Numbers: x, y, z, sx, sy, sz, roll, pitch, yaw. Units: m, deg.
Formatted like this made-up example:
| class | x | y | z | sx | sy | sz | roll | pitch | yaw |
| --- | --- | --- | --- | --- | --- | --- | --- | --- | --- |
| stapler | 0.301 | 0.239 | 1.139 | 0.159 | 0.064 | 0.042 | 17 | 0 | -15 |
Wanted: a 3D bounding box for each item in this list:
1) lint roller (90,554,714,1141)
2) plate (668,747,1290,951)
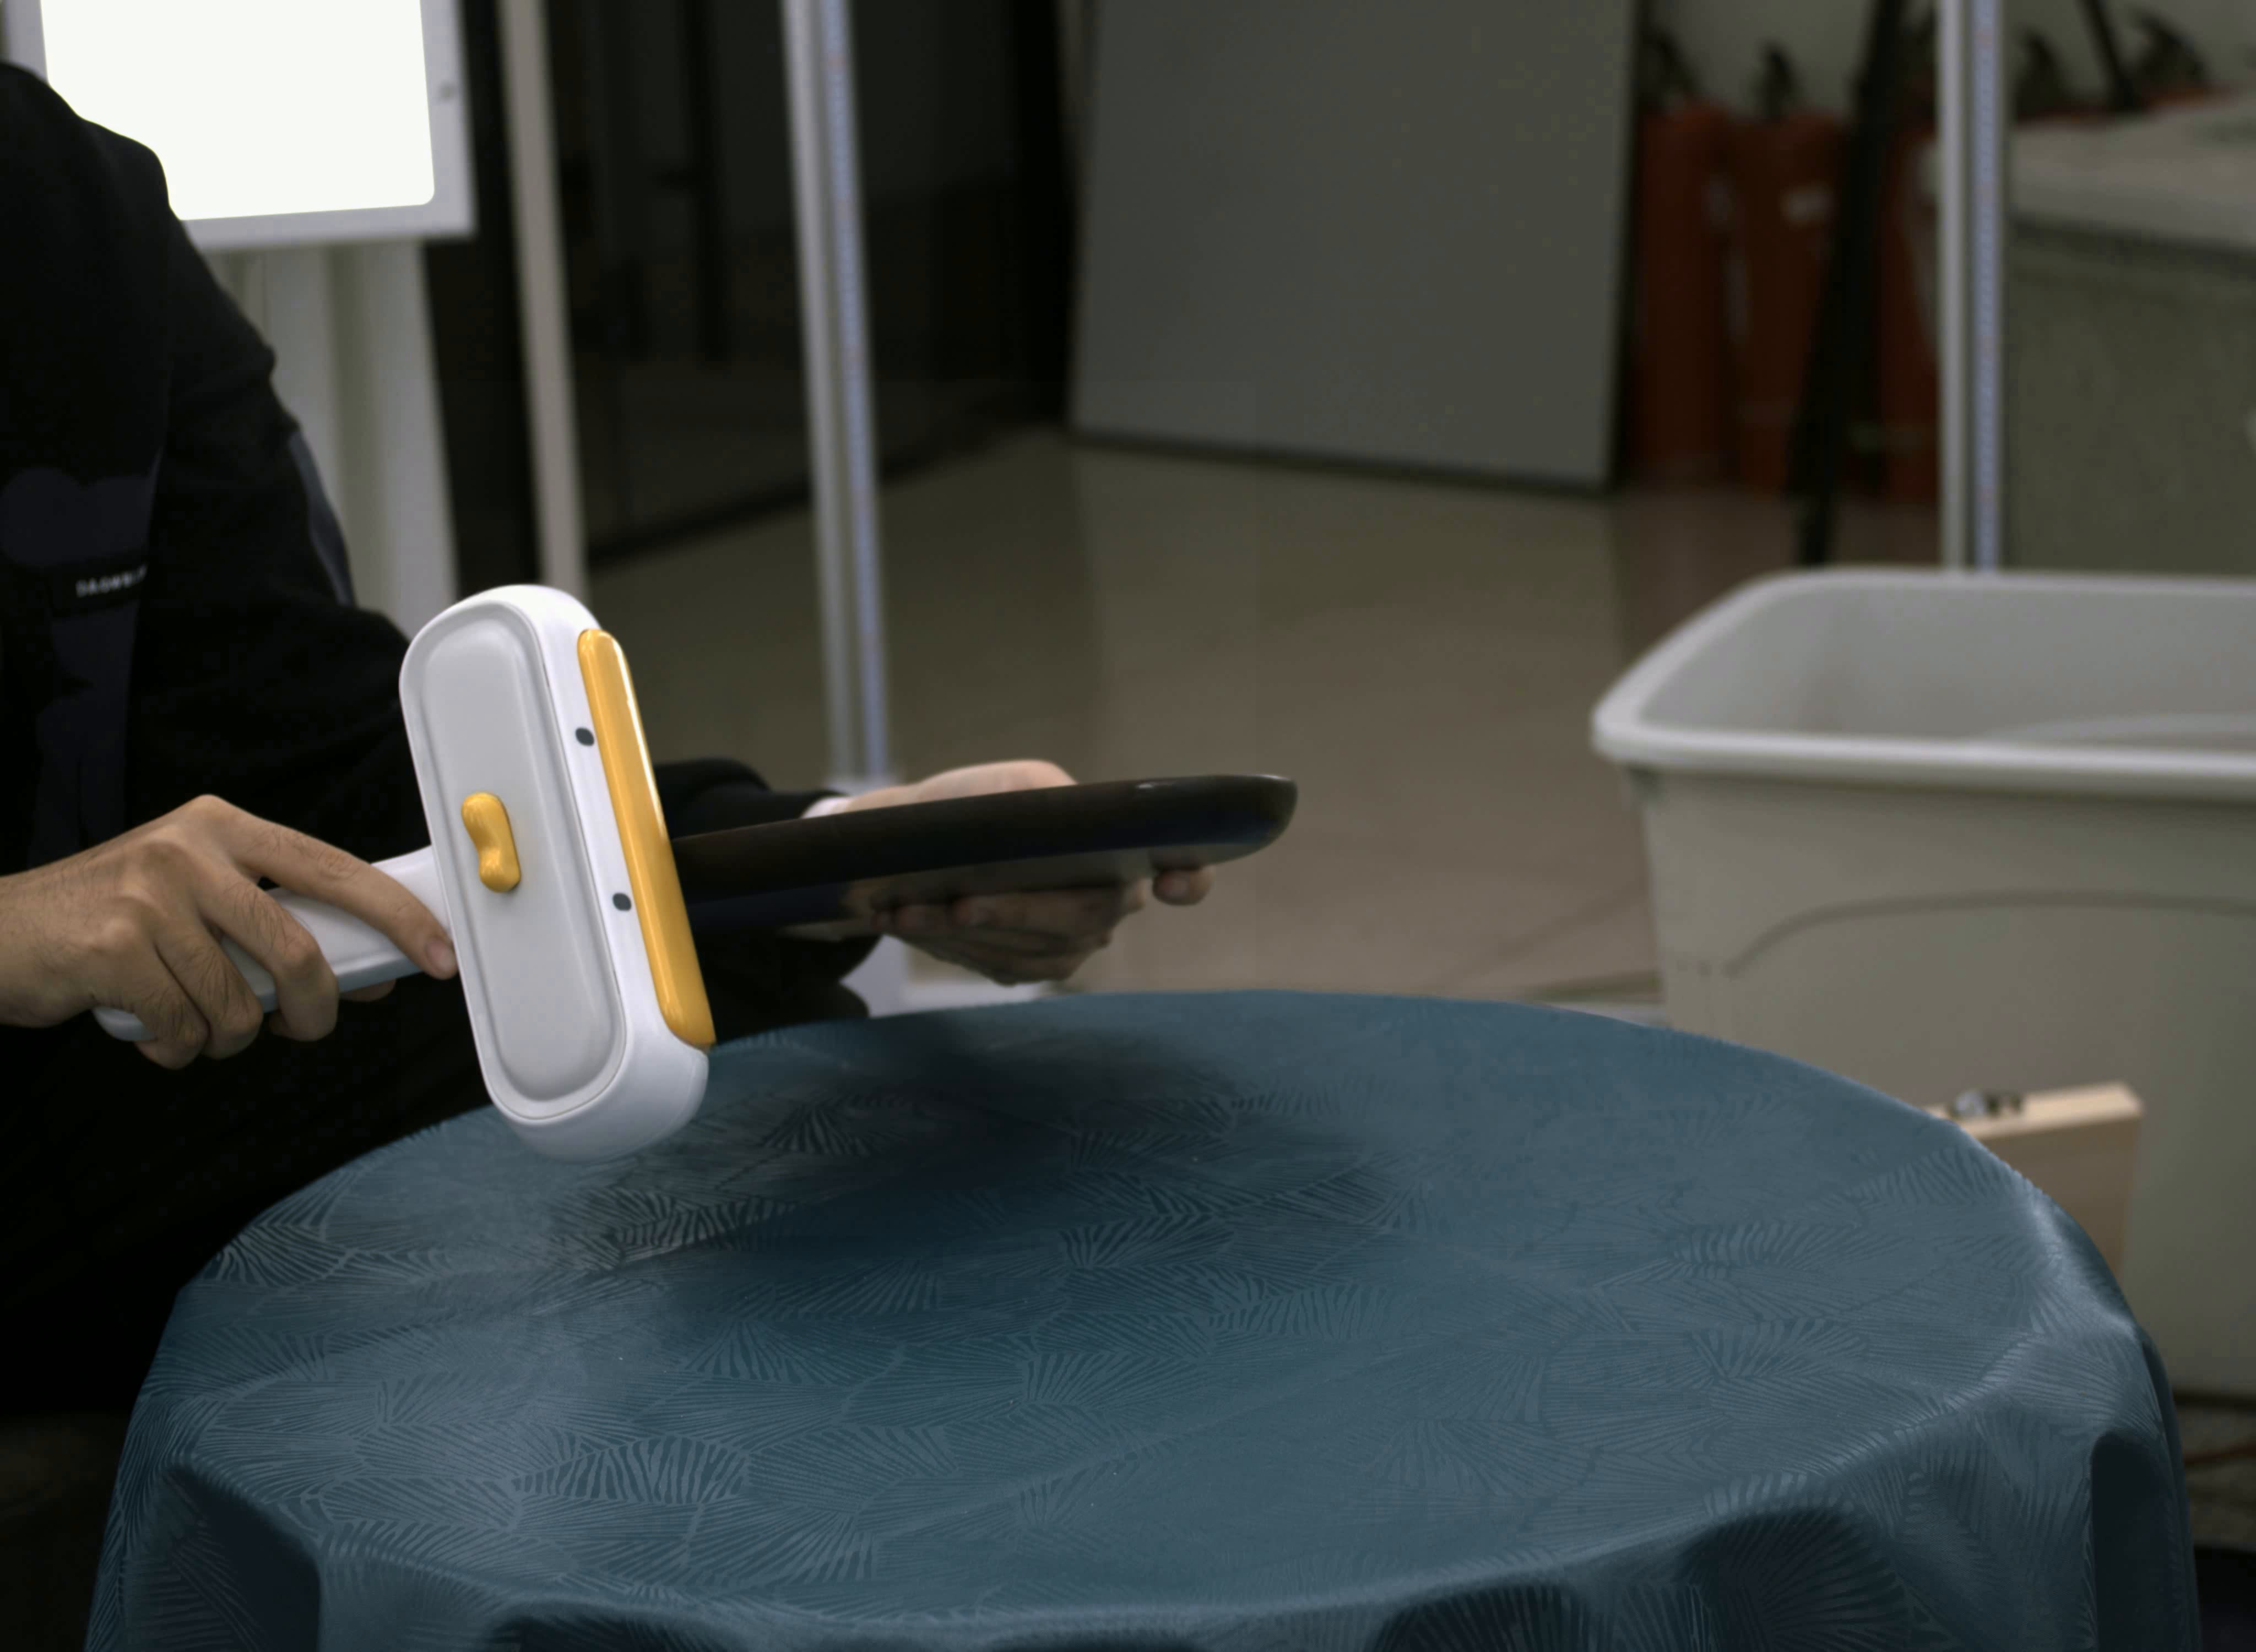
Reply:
| class | x | y | z | sx | sy | sz | roll | pitch | yaw |
| --- | --- | --- | --- | --- | --- | --- | --- | --- | --- |
| lint roller | -0.237 | 0.028 | 1.726 | 0.192 | 0.195 | 0.073 | -24 | -18 | 14 |
| plate | -0.068 | 0.012 | 1.815 | 0.251 | 0.029 | 0.255 | -9 | -6 | -2 |
